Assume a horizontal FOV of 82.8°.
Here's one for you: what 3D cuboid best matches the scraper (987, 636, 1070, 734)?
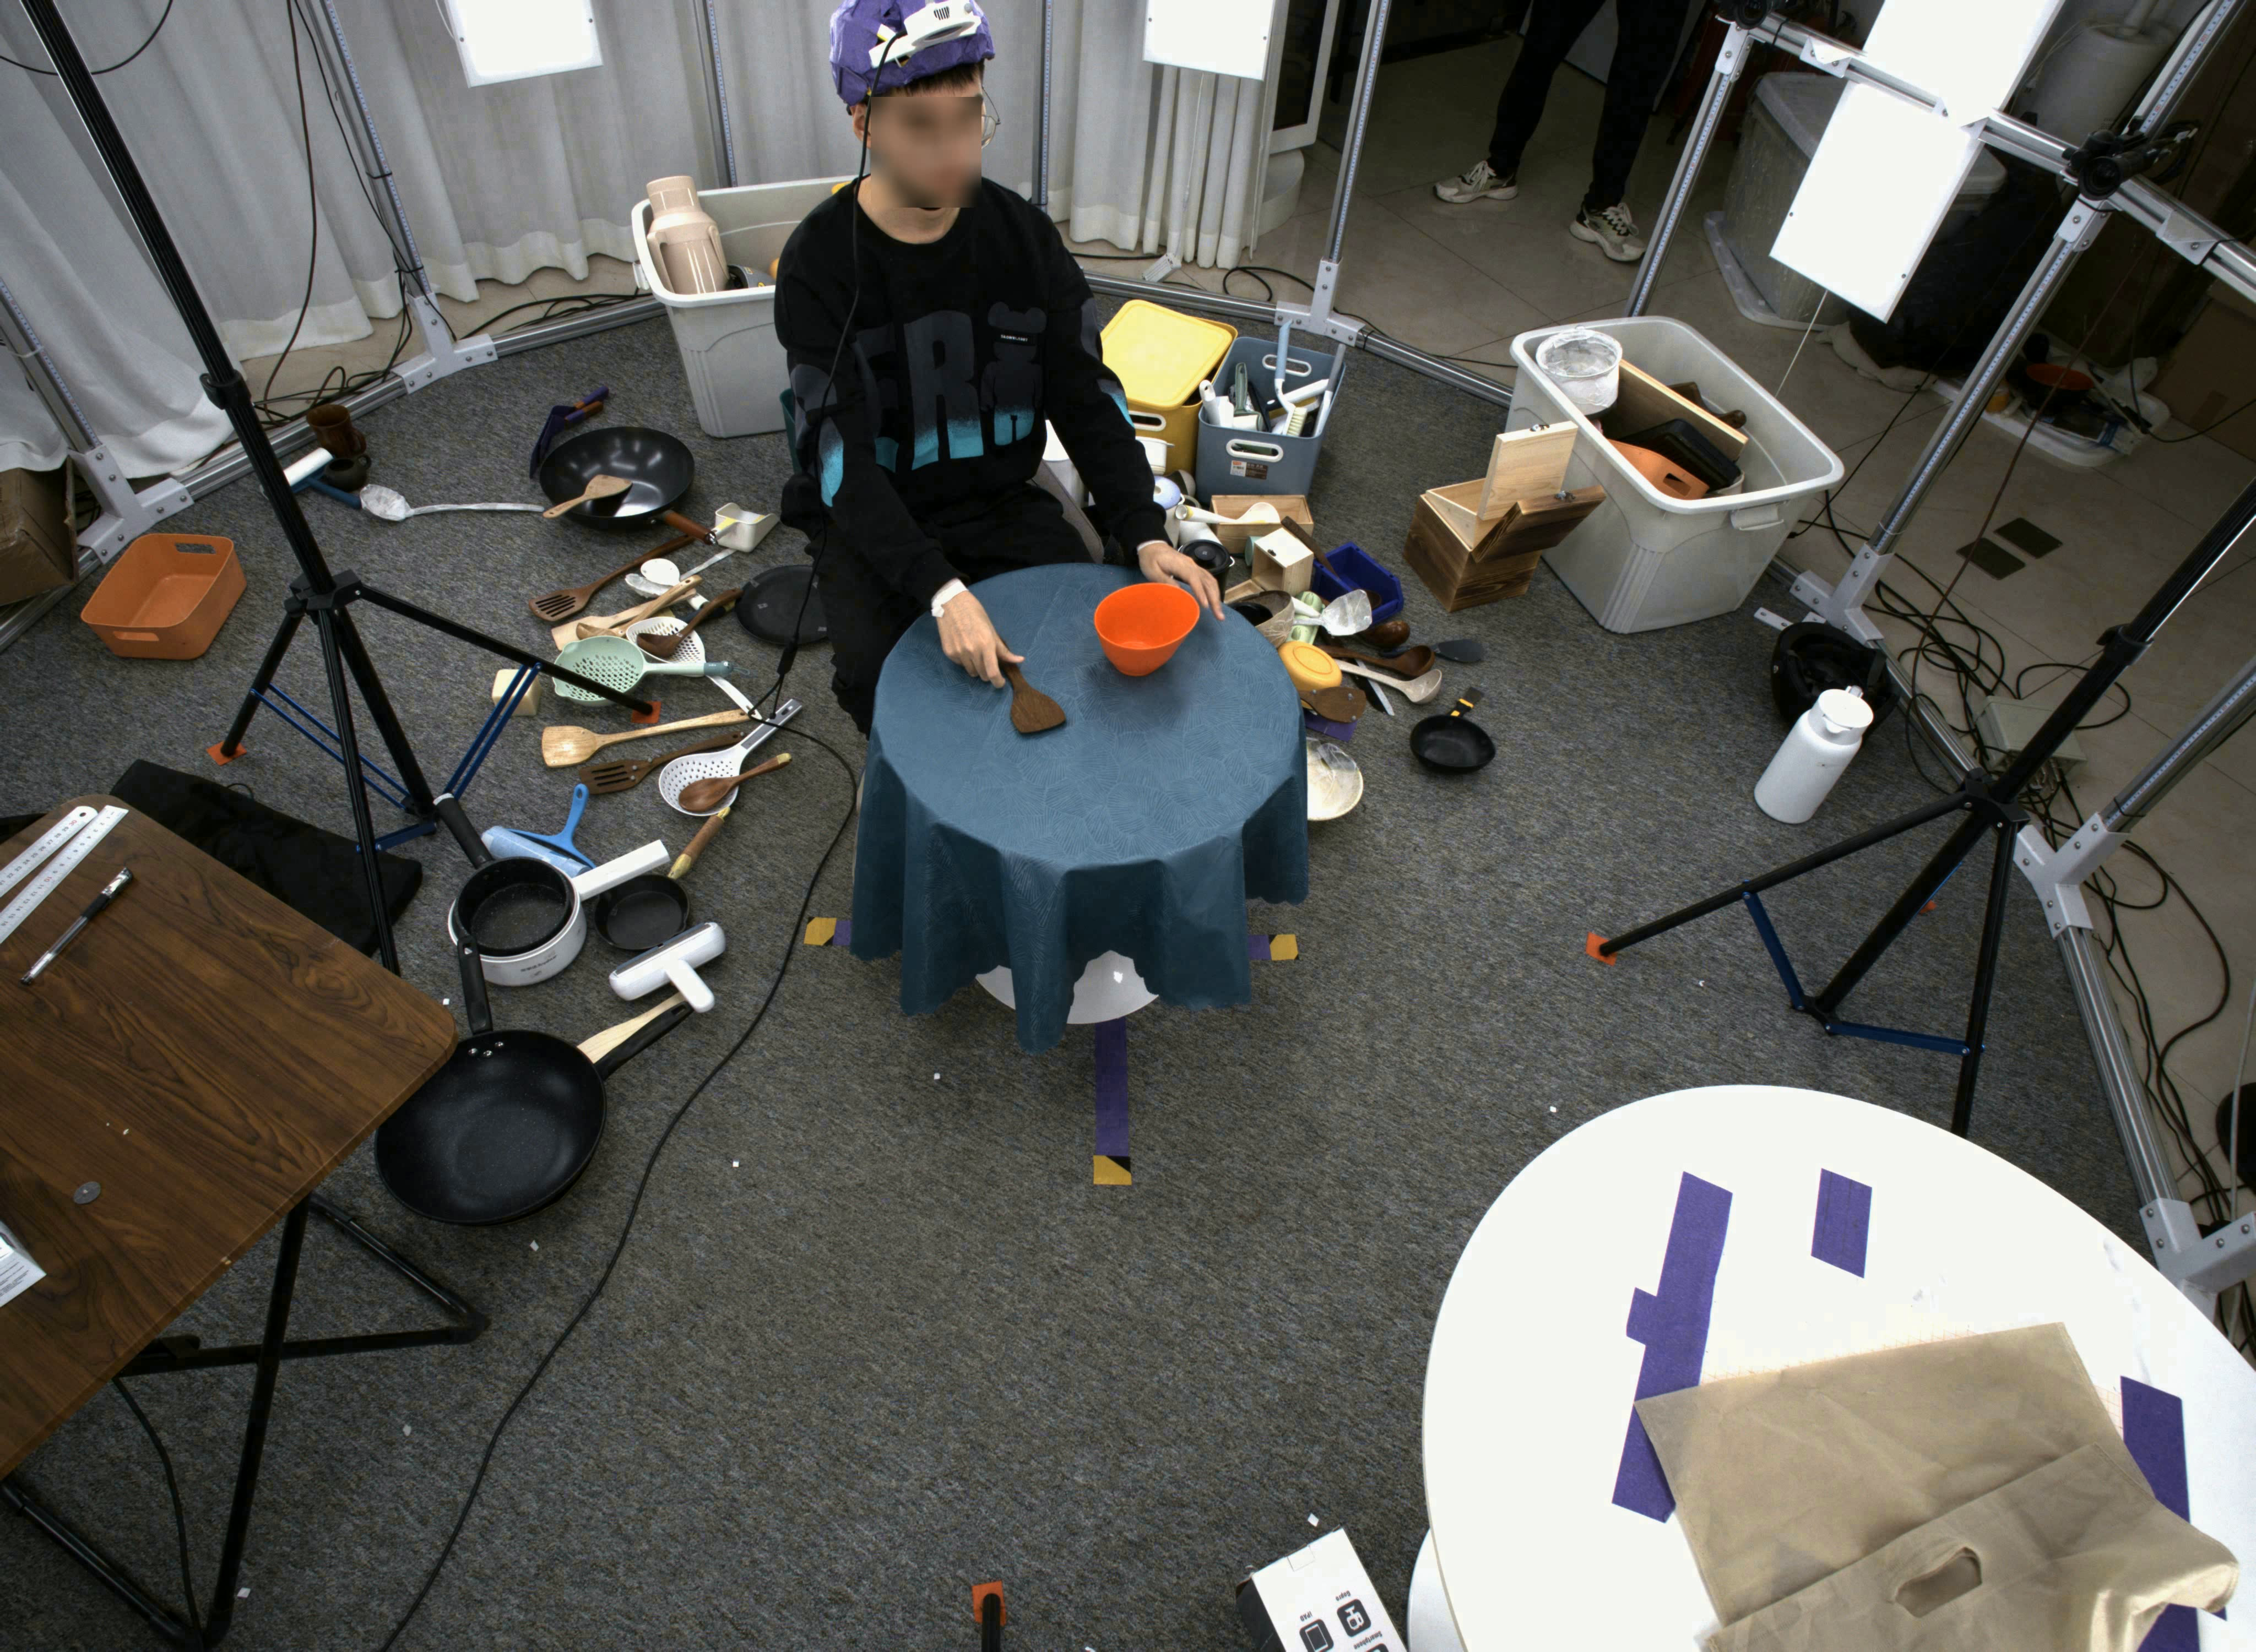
[{"bbox_3d":[-0.154,-0.206,1.848,0.076,0.010,0.216,-16,51,-18],"label":"scraper"}]

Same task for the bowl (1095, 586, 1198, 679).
[{"bbox_3d":[0.025,-0.269,1.856,0.148,0.102,0.152,1,50,-1],"label":"bowl"}]
